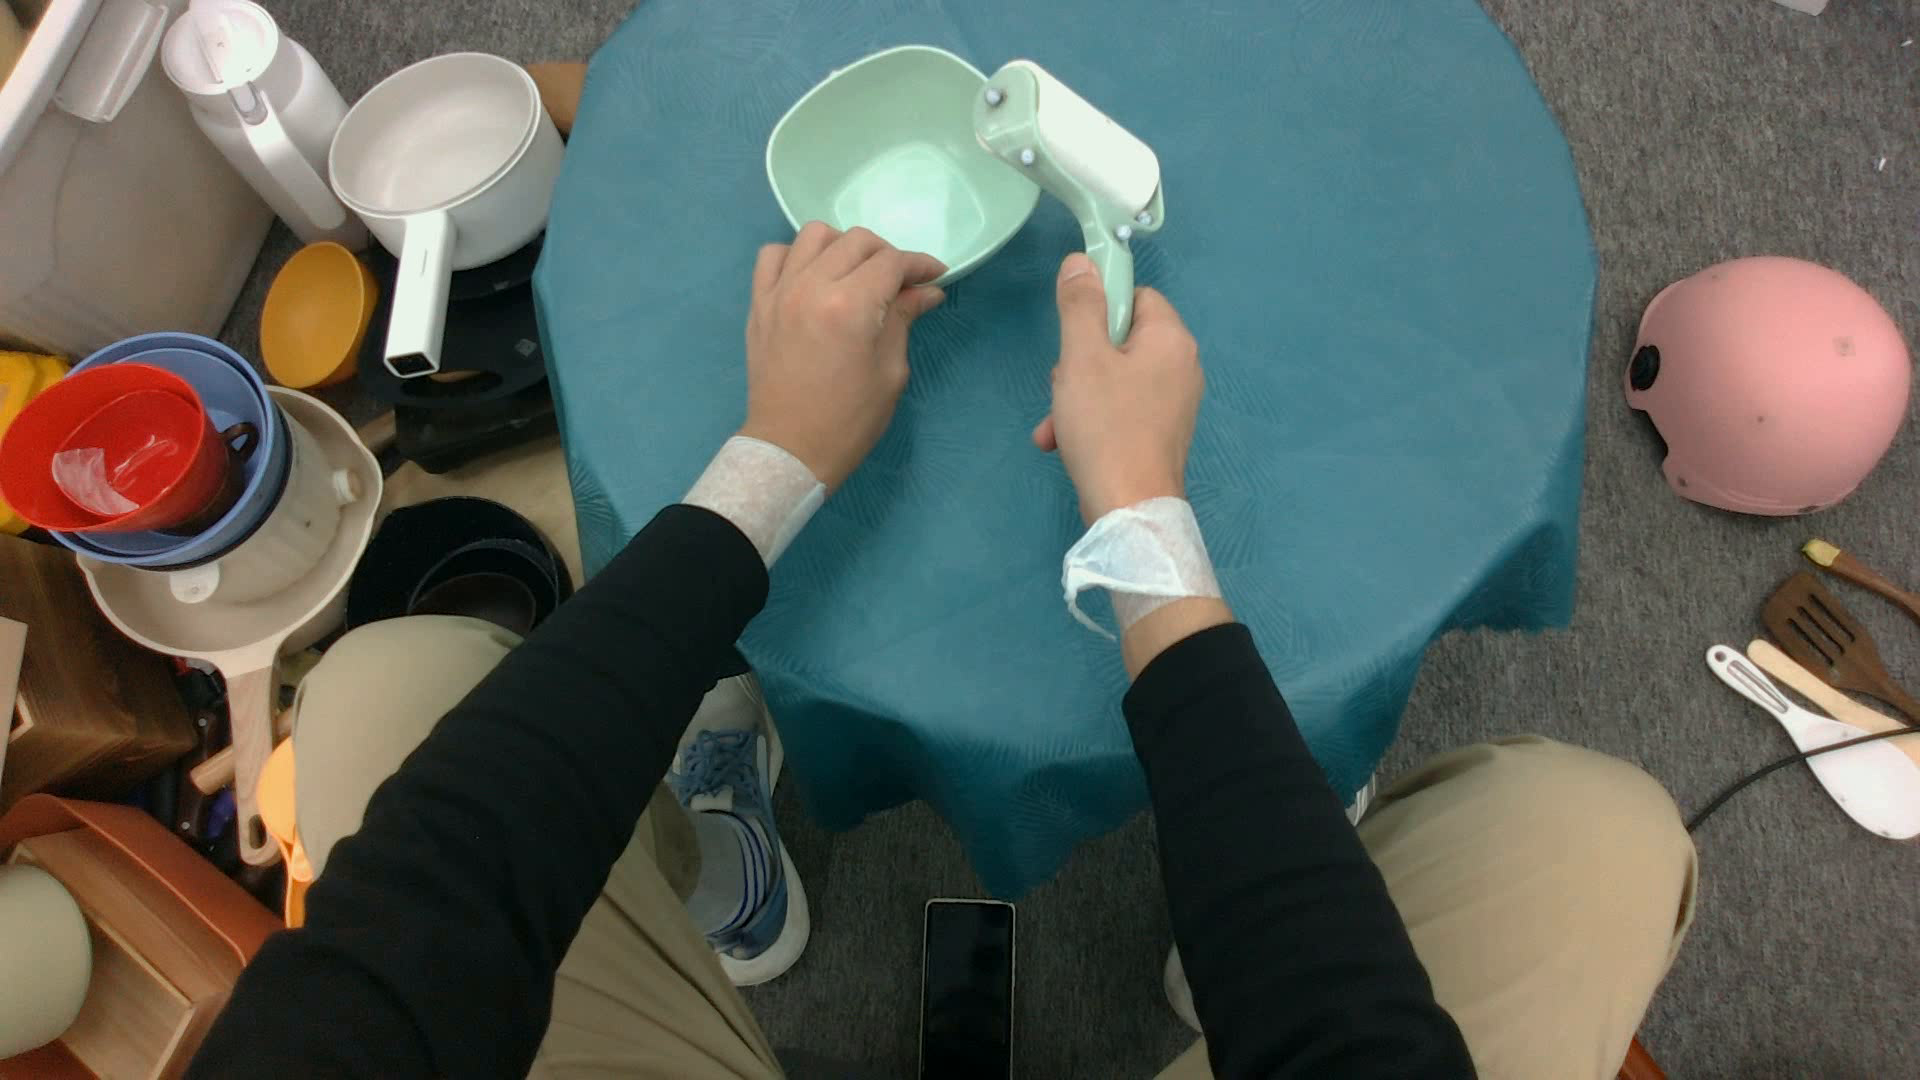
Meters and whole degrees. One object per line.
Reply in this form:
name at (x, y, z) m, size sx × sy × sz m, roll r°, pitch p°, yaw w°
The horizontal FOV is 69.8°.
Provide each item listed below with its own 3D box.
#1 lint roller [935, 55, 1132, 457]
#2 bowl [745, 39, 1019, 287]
lint roller at (0.046, -0.138, 0.685) m, size 0.048 × 0.117 × 0.198 m, roll -22°, pitch 65°, yaw 37°
bowl at (-0.041, -0.200, 0.769) m, size 0.151 × 0.058 × 0.152 m, roll 0°, pitch 71°, yaw 0°
